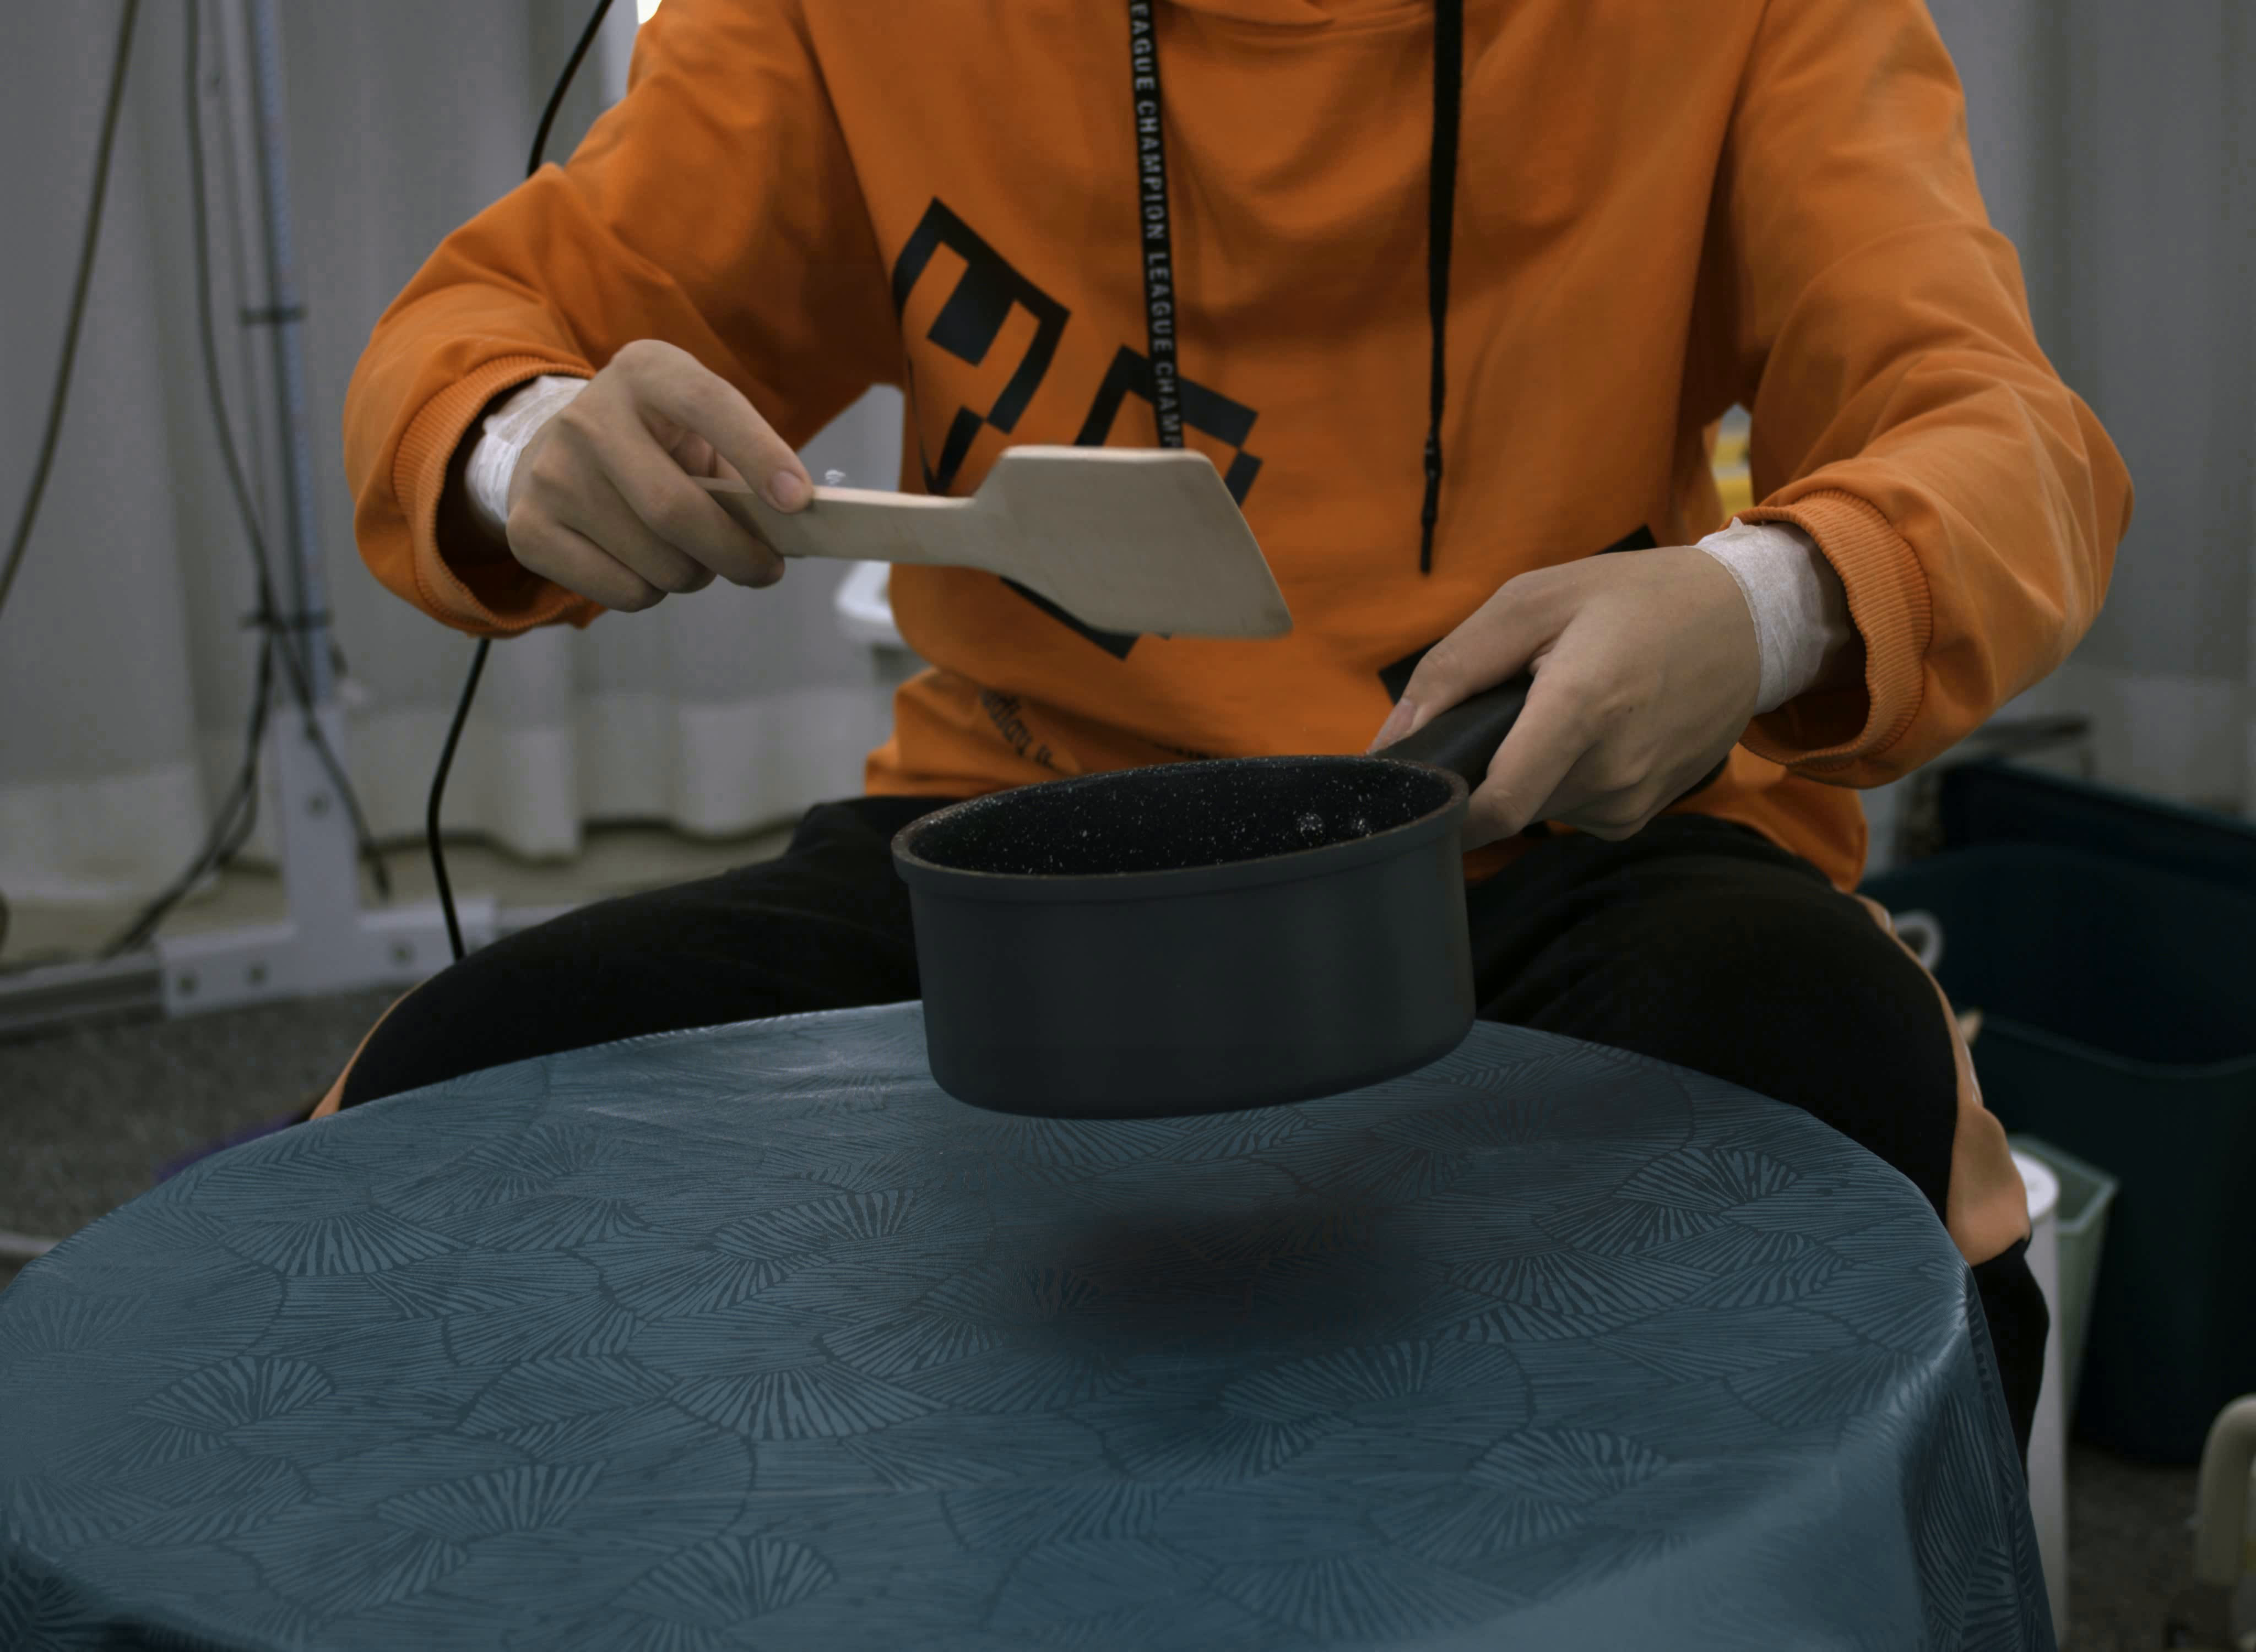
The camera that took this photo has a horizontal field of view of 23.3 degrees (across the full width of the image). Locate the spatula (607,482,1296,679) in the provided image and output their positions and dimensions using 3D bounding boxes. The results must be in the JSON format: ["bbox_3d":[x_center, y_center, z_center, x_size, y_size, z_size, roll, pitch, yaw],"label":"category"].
[{"bbox_3d":[-0.067,-0.085,1.722,0.294,0.071,0.011,8,45,44],"label":"spatula"}]

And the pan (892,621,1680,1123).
[{"bbox_3d":[0.068,0.012,1.675,0.172,0.086,0.328,4,16,39],"label":"pan"}]
